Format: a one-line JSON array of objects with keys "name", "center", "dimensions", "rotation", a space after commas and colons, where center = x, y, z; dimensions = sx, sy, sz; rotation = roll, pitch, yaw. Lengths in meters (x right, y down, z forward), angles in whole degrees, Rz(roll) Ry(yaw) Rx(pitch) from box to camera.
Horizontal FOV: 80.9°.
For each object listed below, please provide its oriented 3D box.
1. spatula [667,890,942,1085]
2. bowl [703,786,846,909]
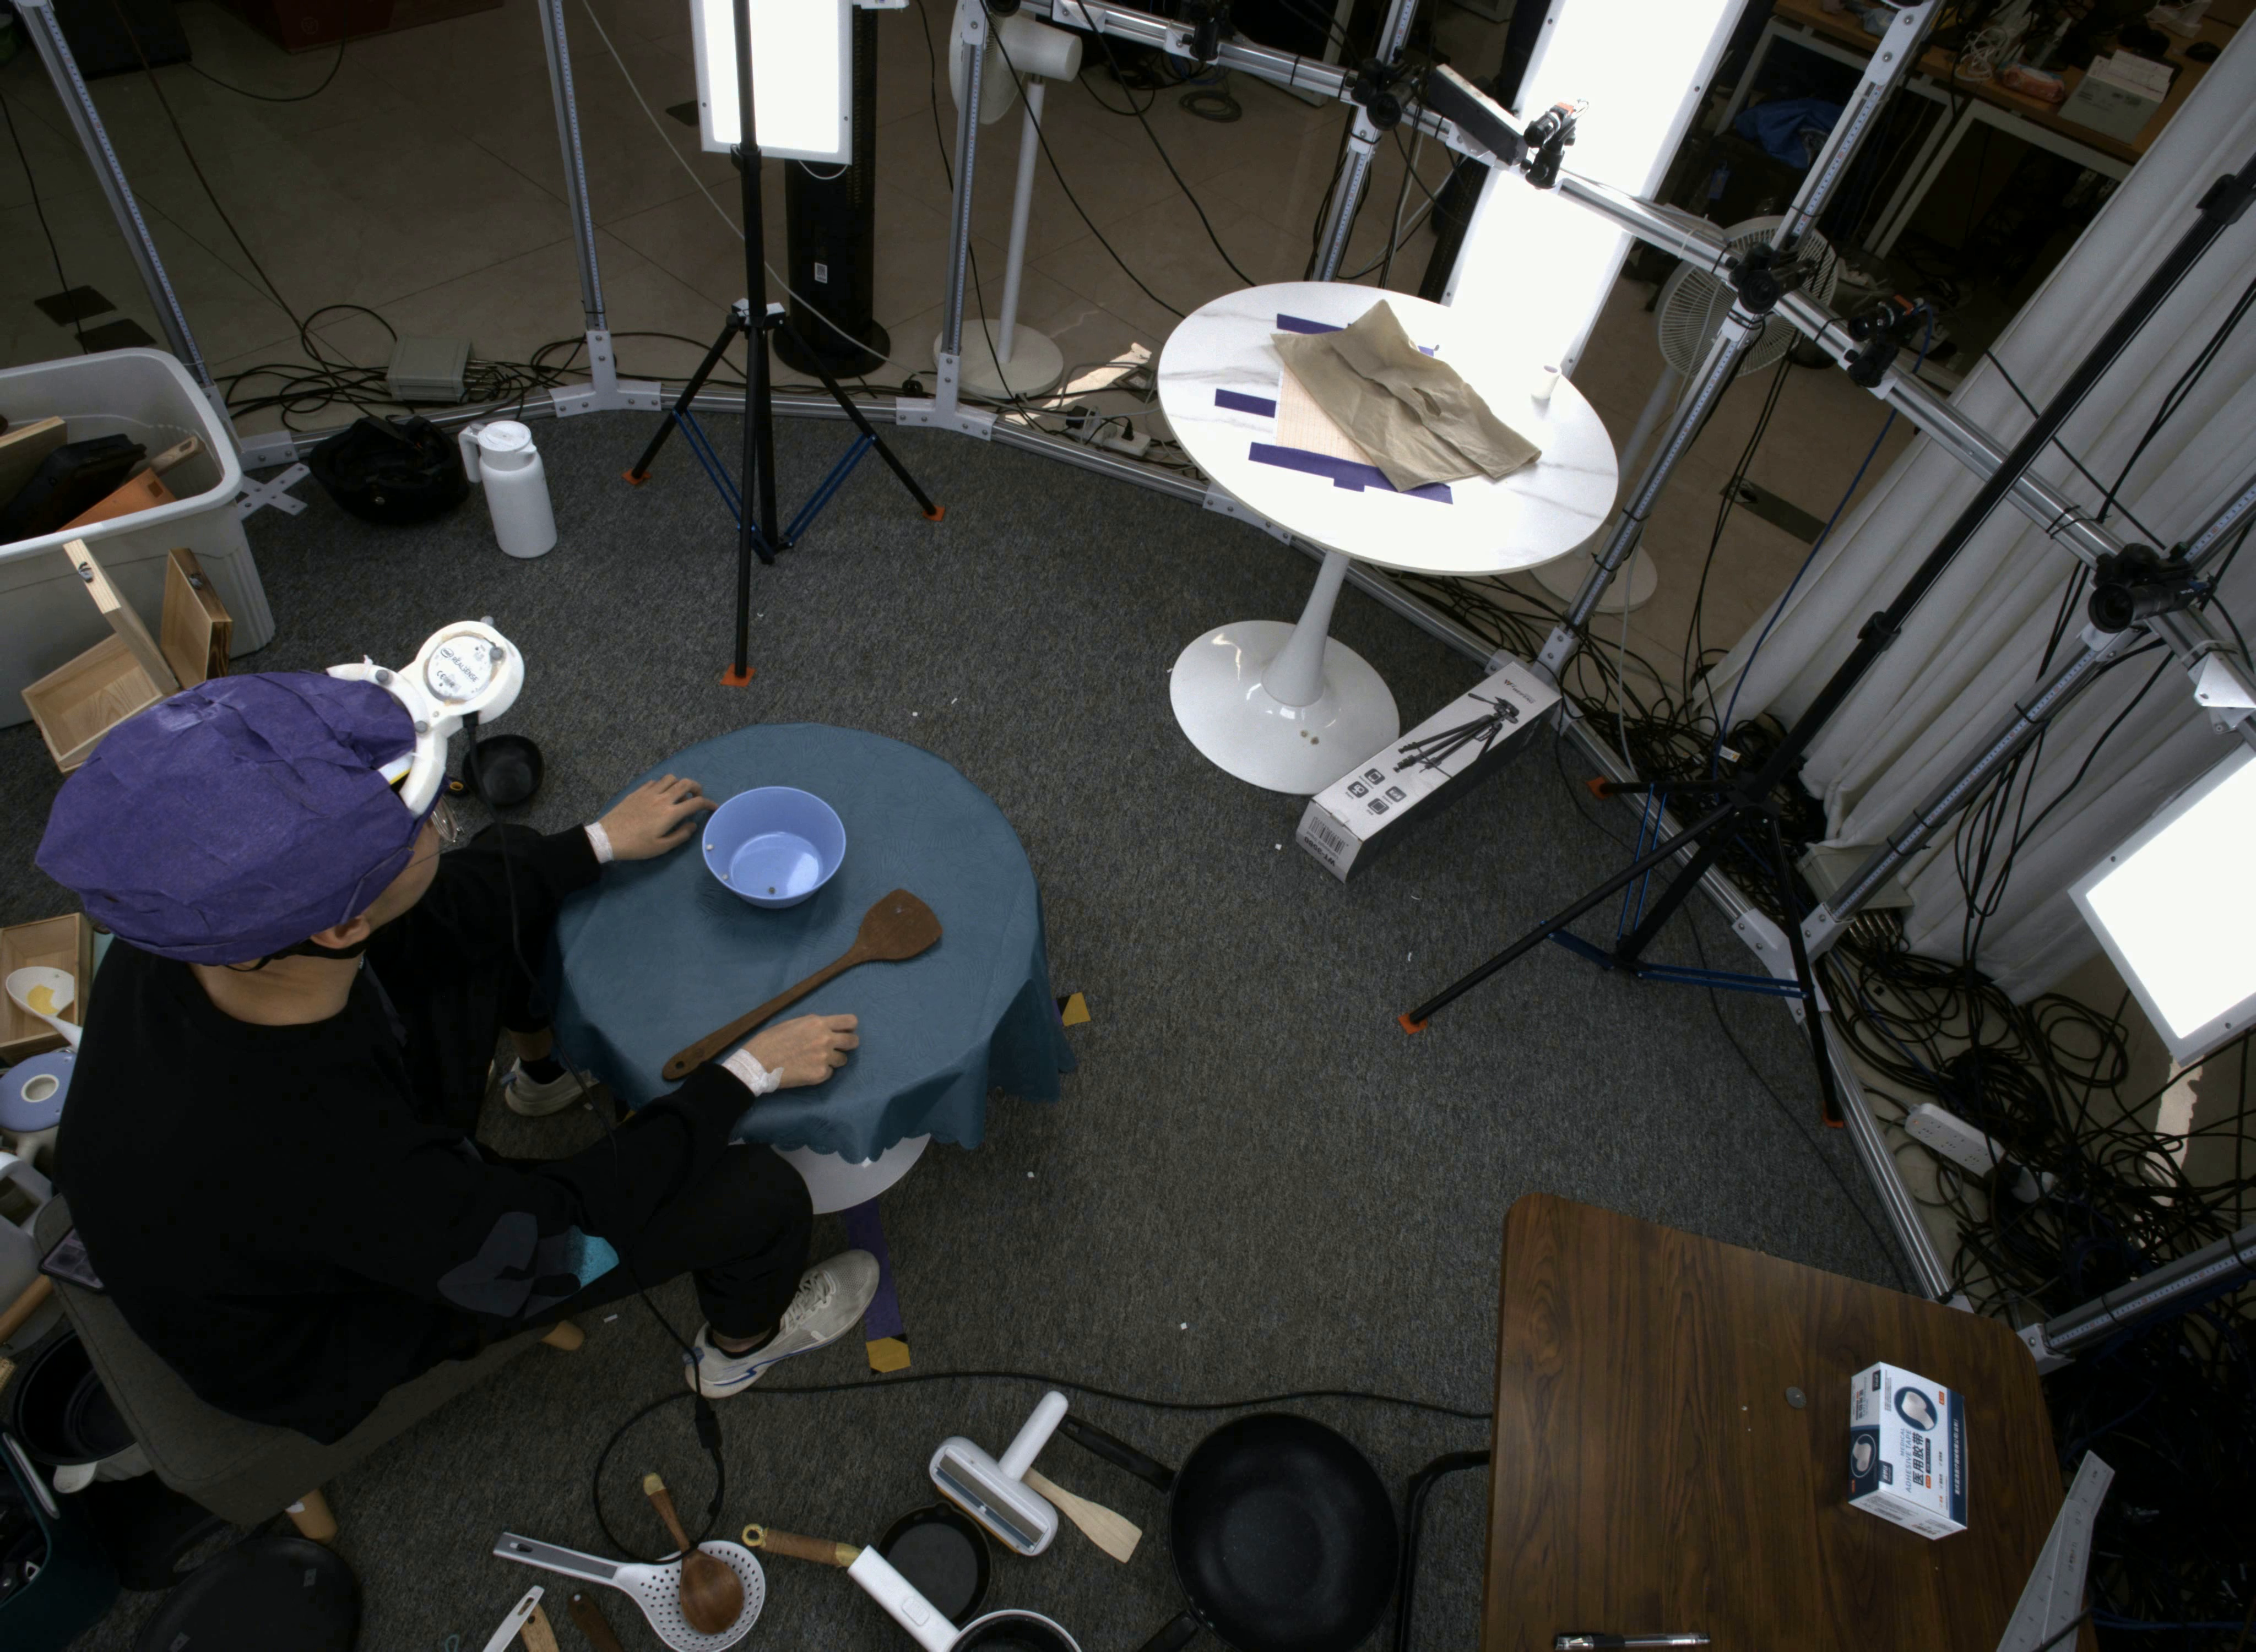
[{"name": "spatula", "center": [-0.395, 0.197, 1.581], "dimensions": [0.387, 0.016, 0.094], "rotation": [-34, 68, -32]}, {"name": "bowl", "center": [-0.447, 0.037, 1.651], "dimensions": [0.175, 0.072, 0.173], "rotation": [7, 53, -7]}]
